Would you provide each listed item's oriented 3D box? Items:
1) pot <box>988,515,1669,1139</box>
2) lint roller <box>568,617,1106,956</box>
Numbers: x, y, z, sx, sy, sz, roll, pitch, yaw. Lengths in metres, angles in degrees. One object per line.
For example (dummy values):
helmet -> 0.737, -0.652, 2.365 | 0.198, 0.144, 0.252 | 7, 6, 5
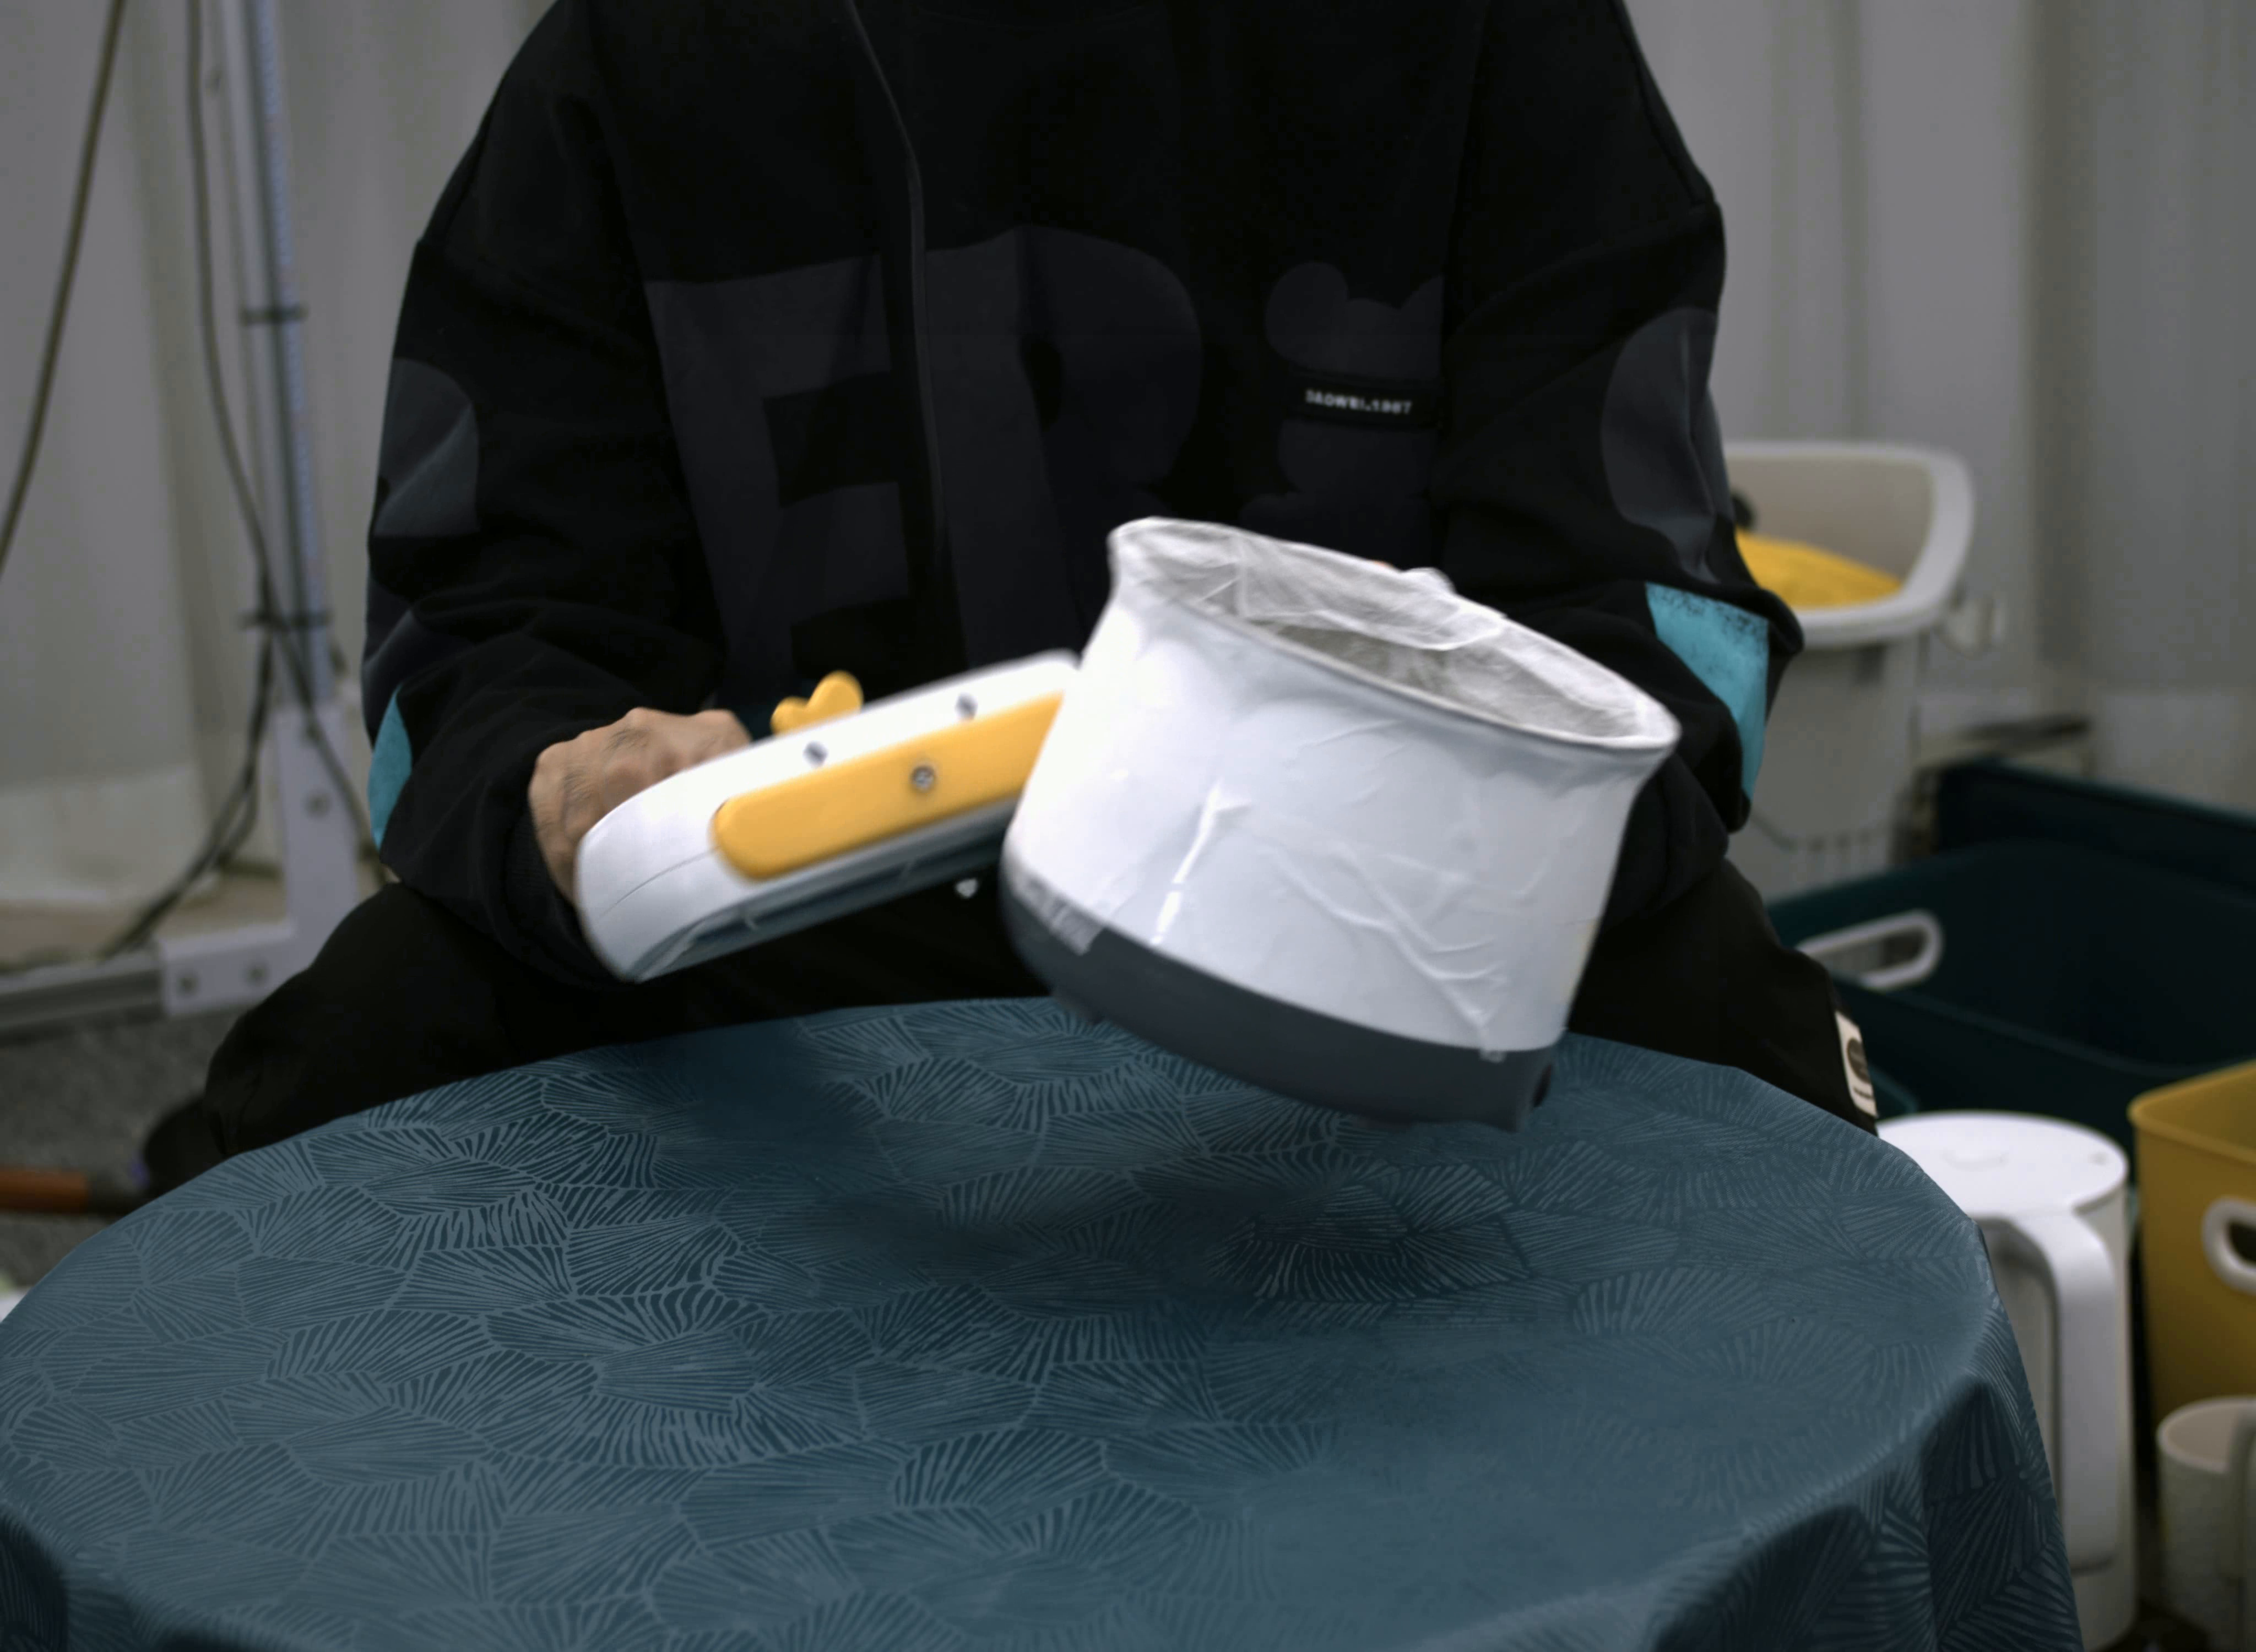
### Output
pot -> 0.059, -0.005, 1.649 | 0.178, 0.136, 0.234 | 21, 13, 4
lint roller -> -0.109, -0.001, 1.721 | 0.193, 0.074, 0.192 | -26, 0, -40
